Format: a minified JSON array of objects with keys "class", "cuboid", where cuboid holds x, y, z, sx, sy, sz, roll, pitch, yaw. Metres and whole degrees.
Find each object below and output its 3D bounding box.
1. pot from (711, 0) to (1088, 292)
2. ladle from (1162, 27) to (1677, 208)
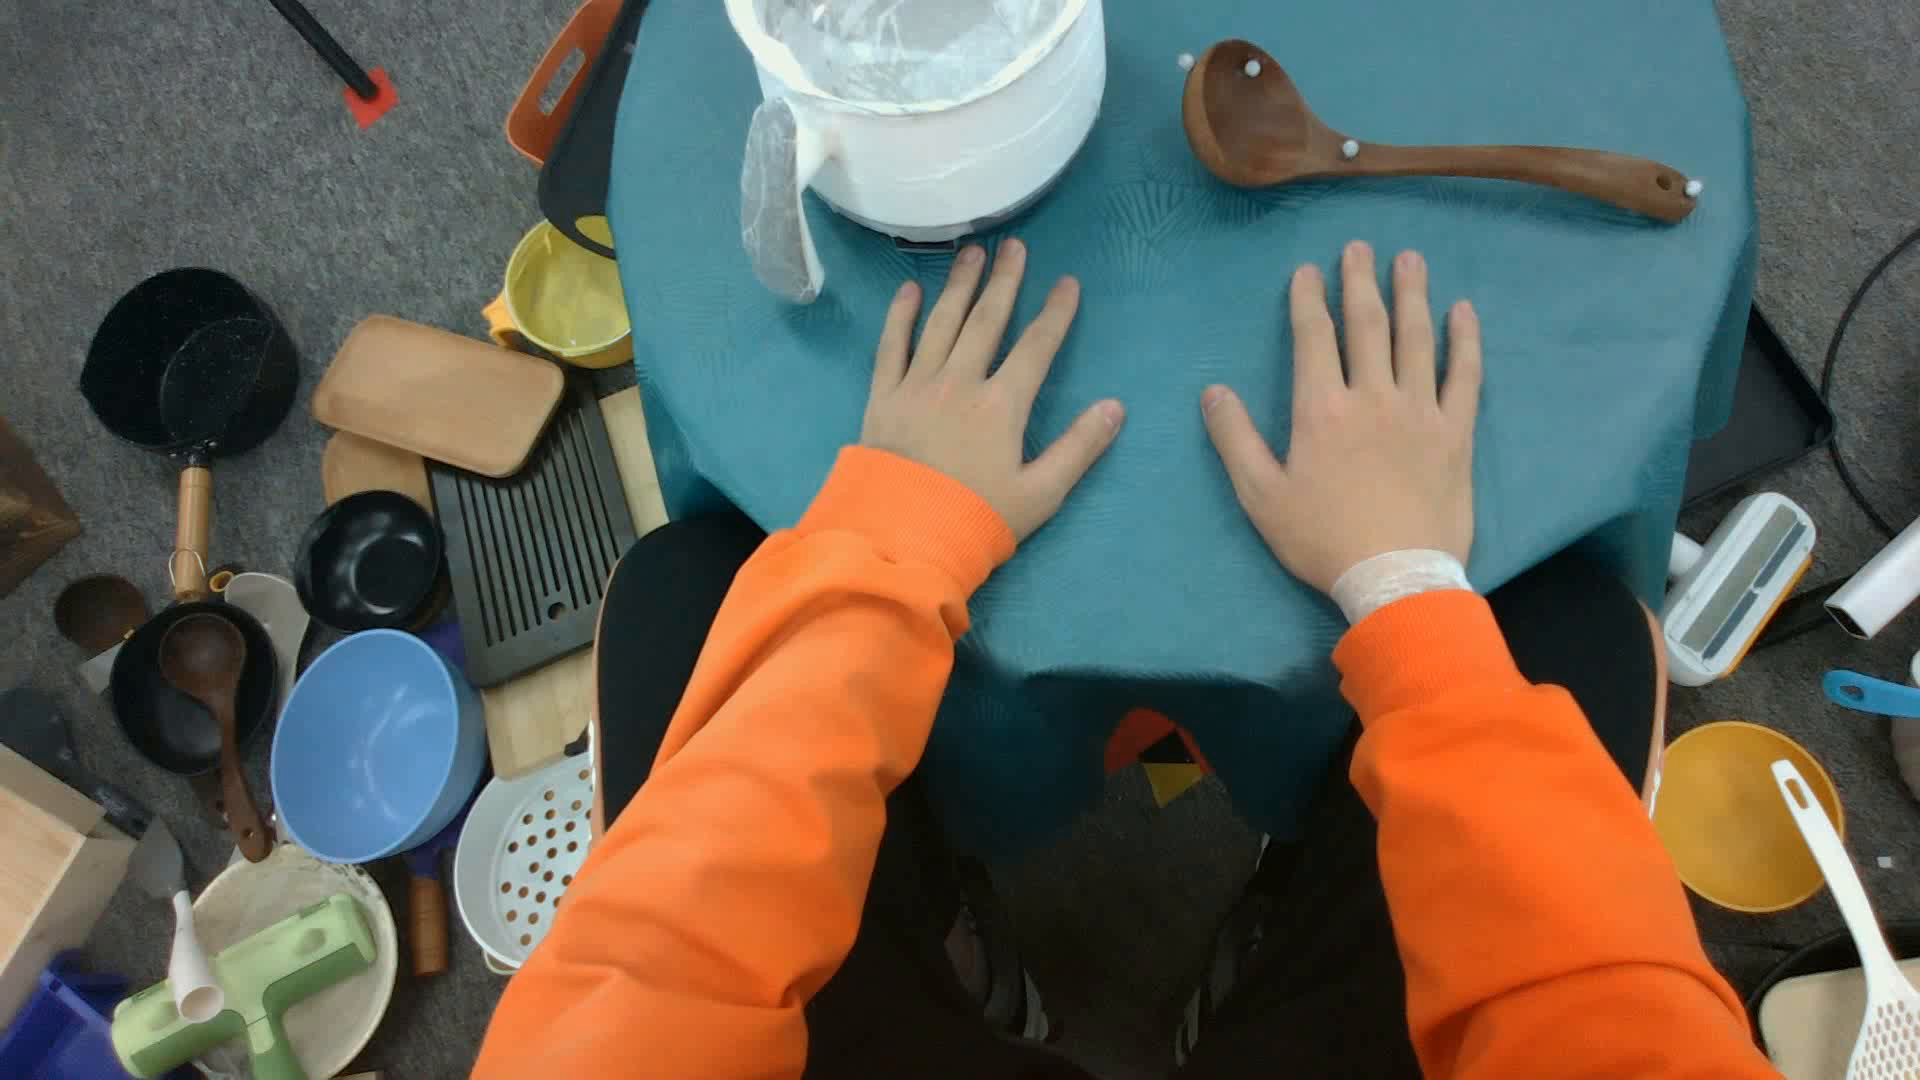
[{"class":"pot","cuboid":[-0.040,-0.236,0.684,0.179,0.136,0.234,30,79,14]},{"class":"ladle","cuboid":[0.230,-0.204,0.687,0.260,0.065,0.076,10,78,9]}]
